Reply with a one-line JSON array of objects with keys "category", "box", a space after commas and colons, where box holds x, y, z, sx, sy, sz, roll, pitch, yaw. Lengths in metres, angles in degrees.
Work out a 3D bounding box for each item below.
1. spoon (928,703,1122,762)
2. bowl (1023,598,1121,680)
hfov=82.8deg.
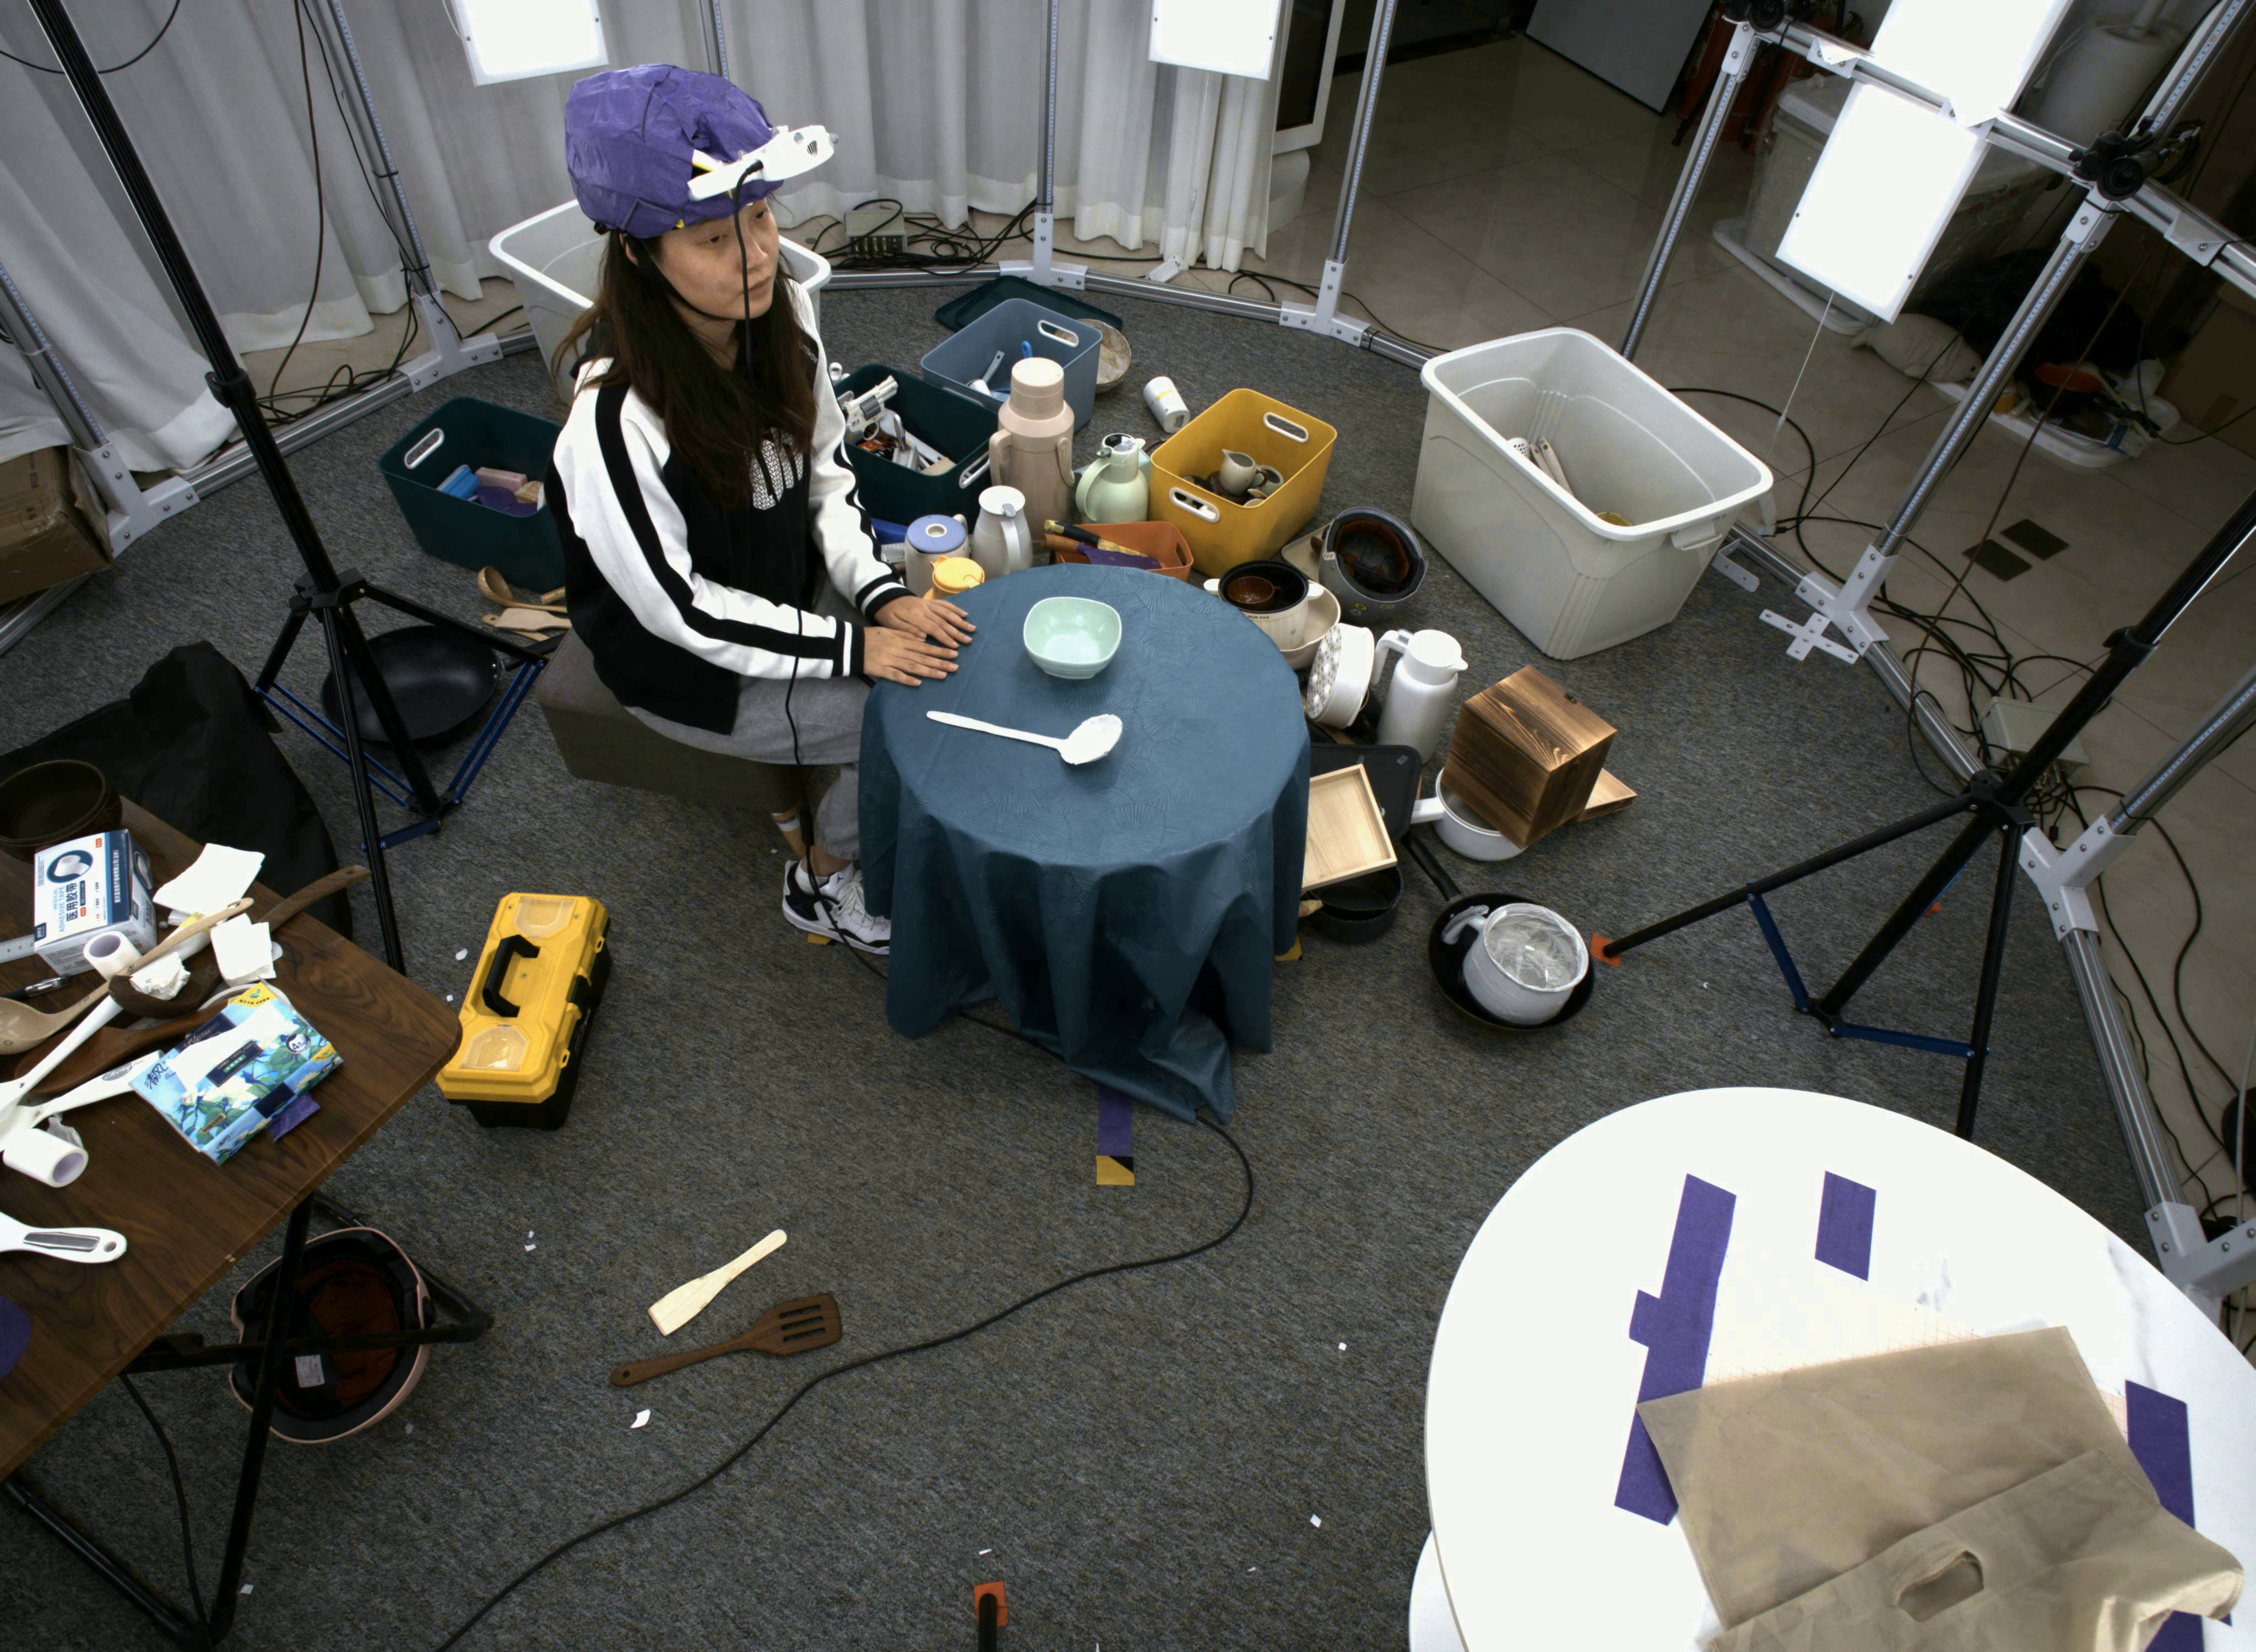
[{"category": "spoon", "box": [-0.143, -0.148, 1.751, 0.278, 0.058, 0.103, 17, 46, 10]}, {"category": "bowl", "box": [-0.081, -0.262, 1.858, 0.151, 0.057, 0.155, 2, 49, -3]}]
